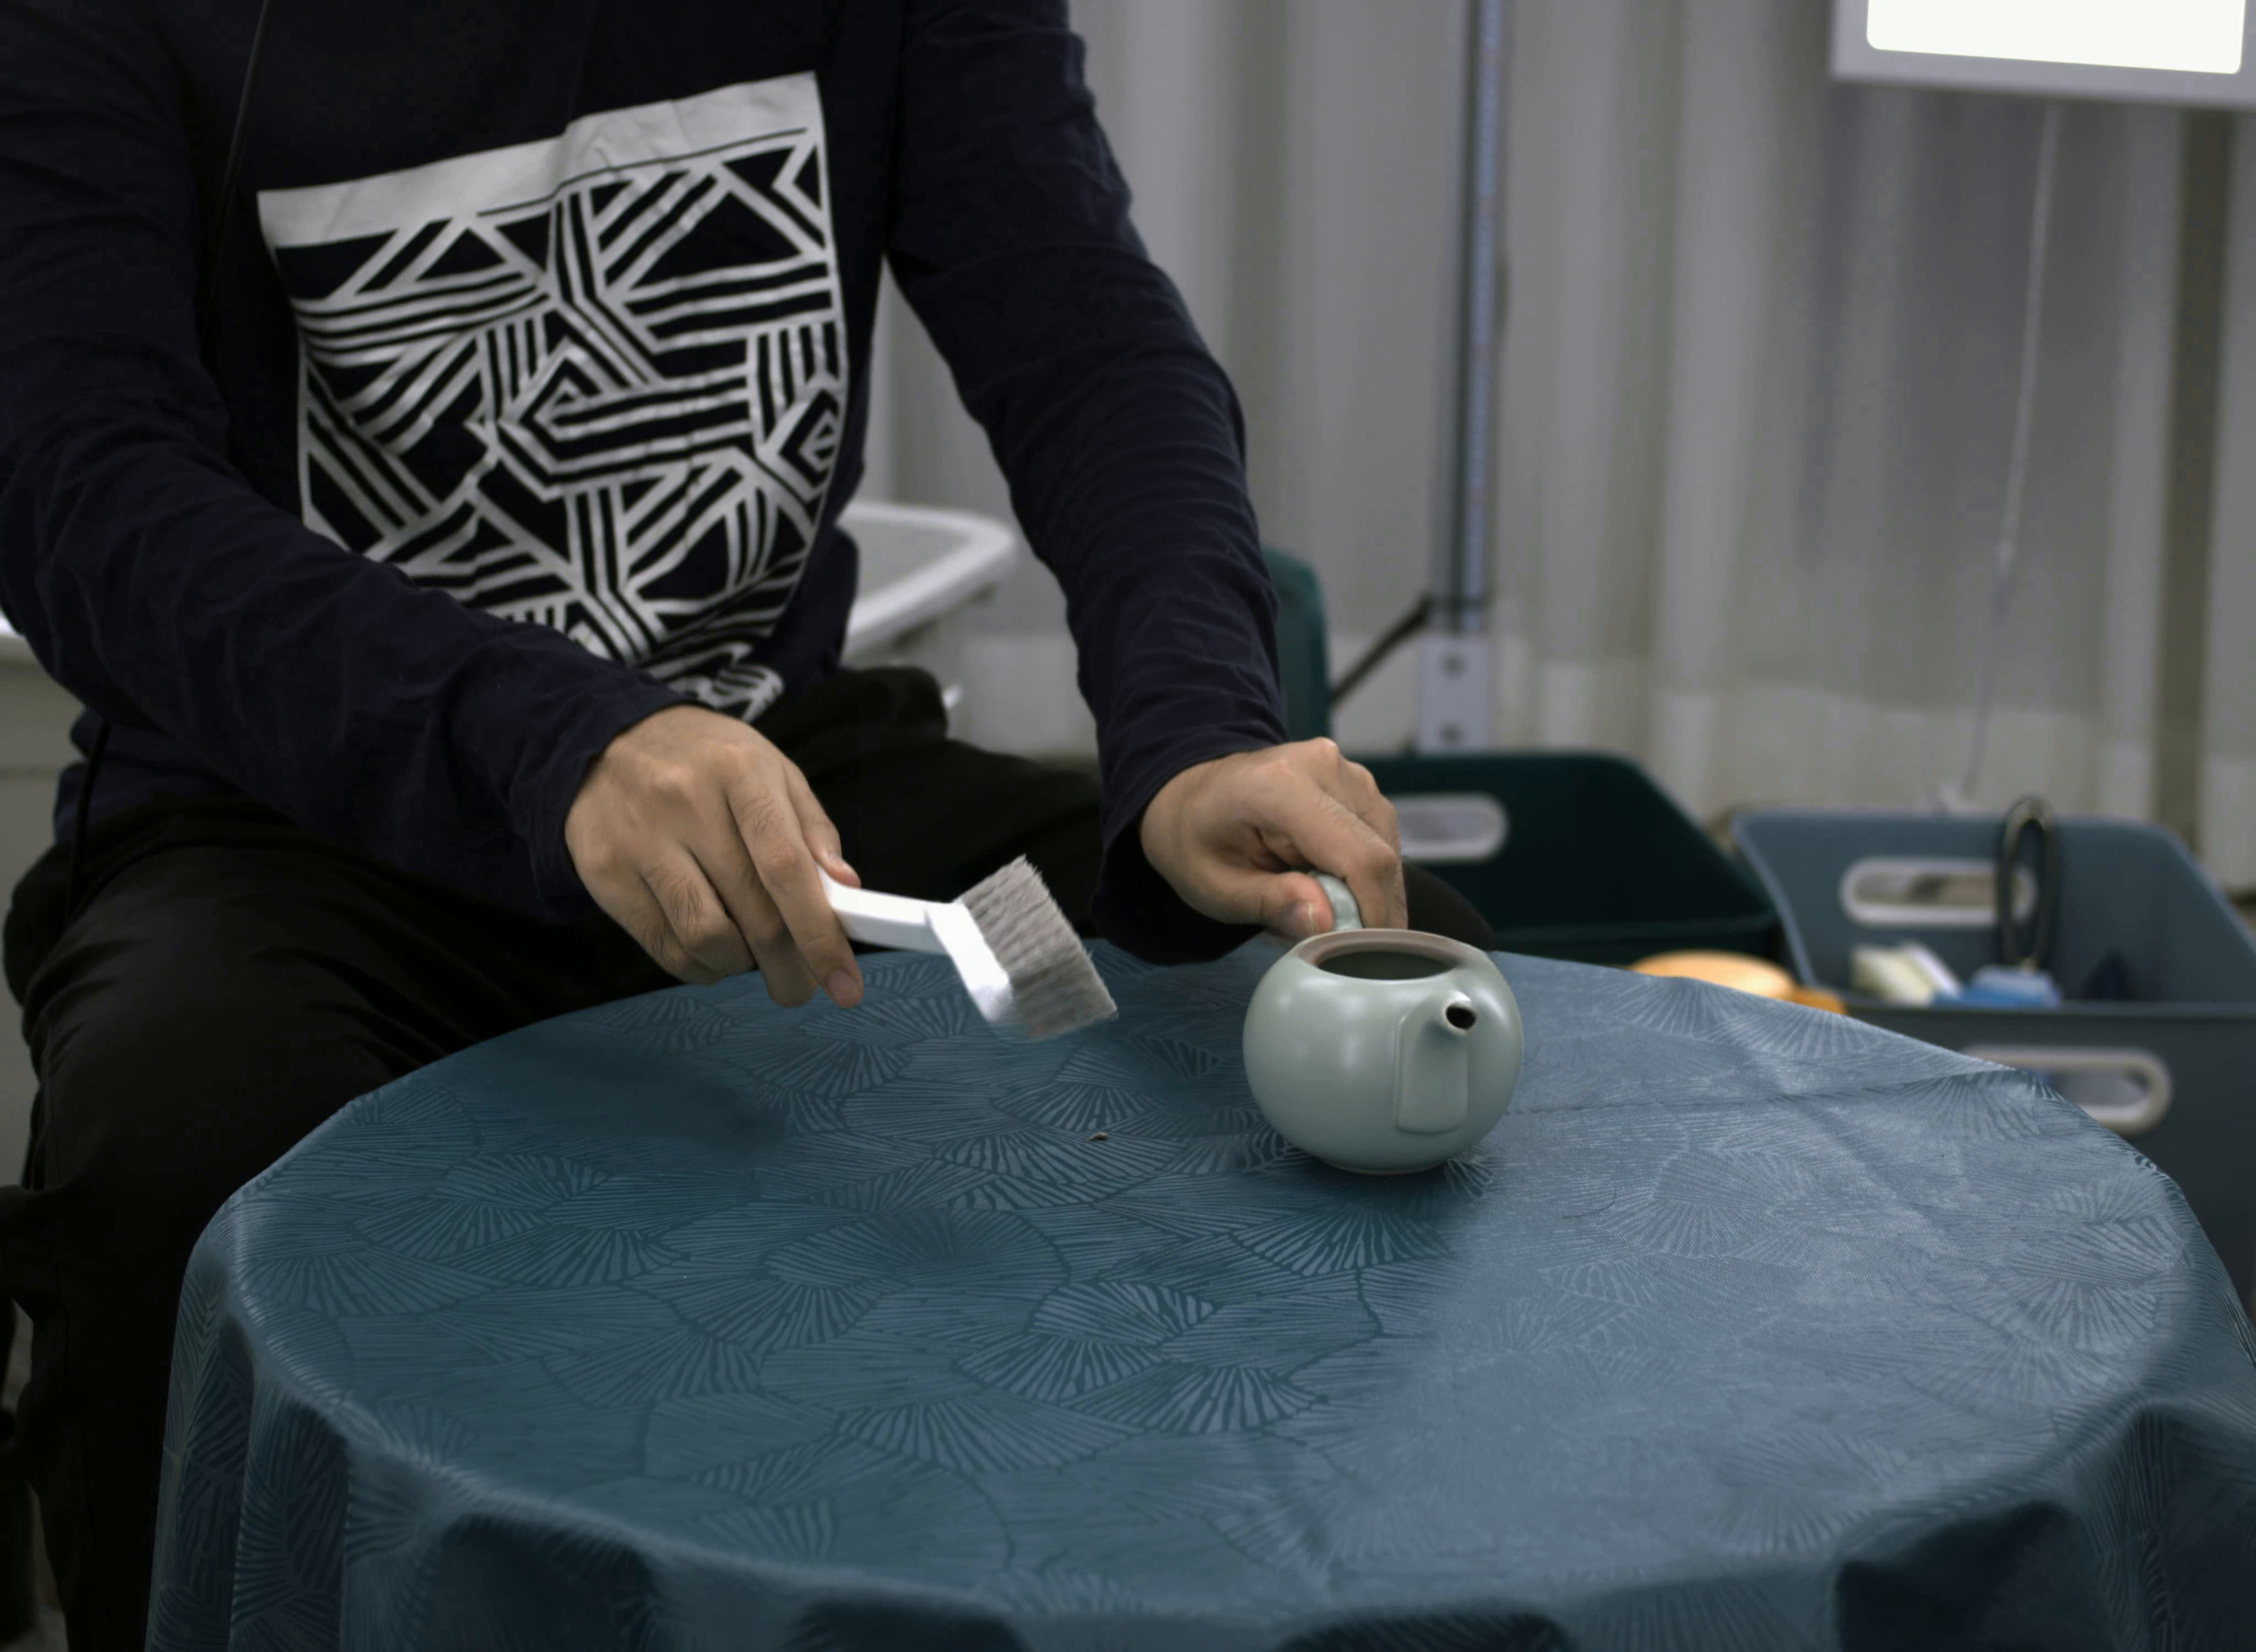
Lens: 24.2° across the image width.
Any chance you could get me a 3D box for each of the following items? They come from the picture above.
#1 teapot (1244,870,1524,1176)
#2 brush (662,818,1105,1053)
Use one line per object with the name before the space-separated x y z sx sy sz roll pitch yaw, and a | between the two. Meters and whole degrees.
teapot | 0.080 0.068 1.651 0.088 0.075 0.142 -4 19 -14
brush | -0.078 0.018 1.652 0.050 0.035 0.240 -43 30 -14
